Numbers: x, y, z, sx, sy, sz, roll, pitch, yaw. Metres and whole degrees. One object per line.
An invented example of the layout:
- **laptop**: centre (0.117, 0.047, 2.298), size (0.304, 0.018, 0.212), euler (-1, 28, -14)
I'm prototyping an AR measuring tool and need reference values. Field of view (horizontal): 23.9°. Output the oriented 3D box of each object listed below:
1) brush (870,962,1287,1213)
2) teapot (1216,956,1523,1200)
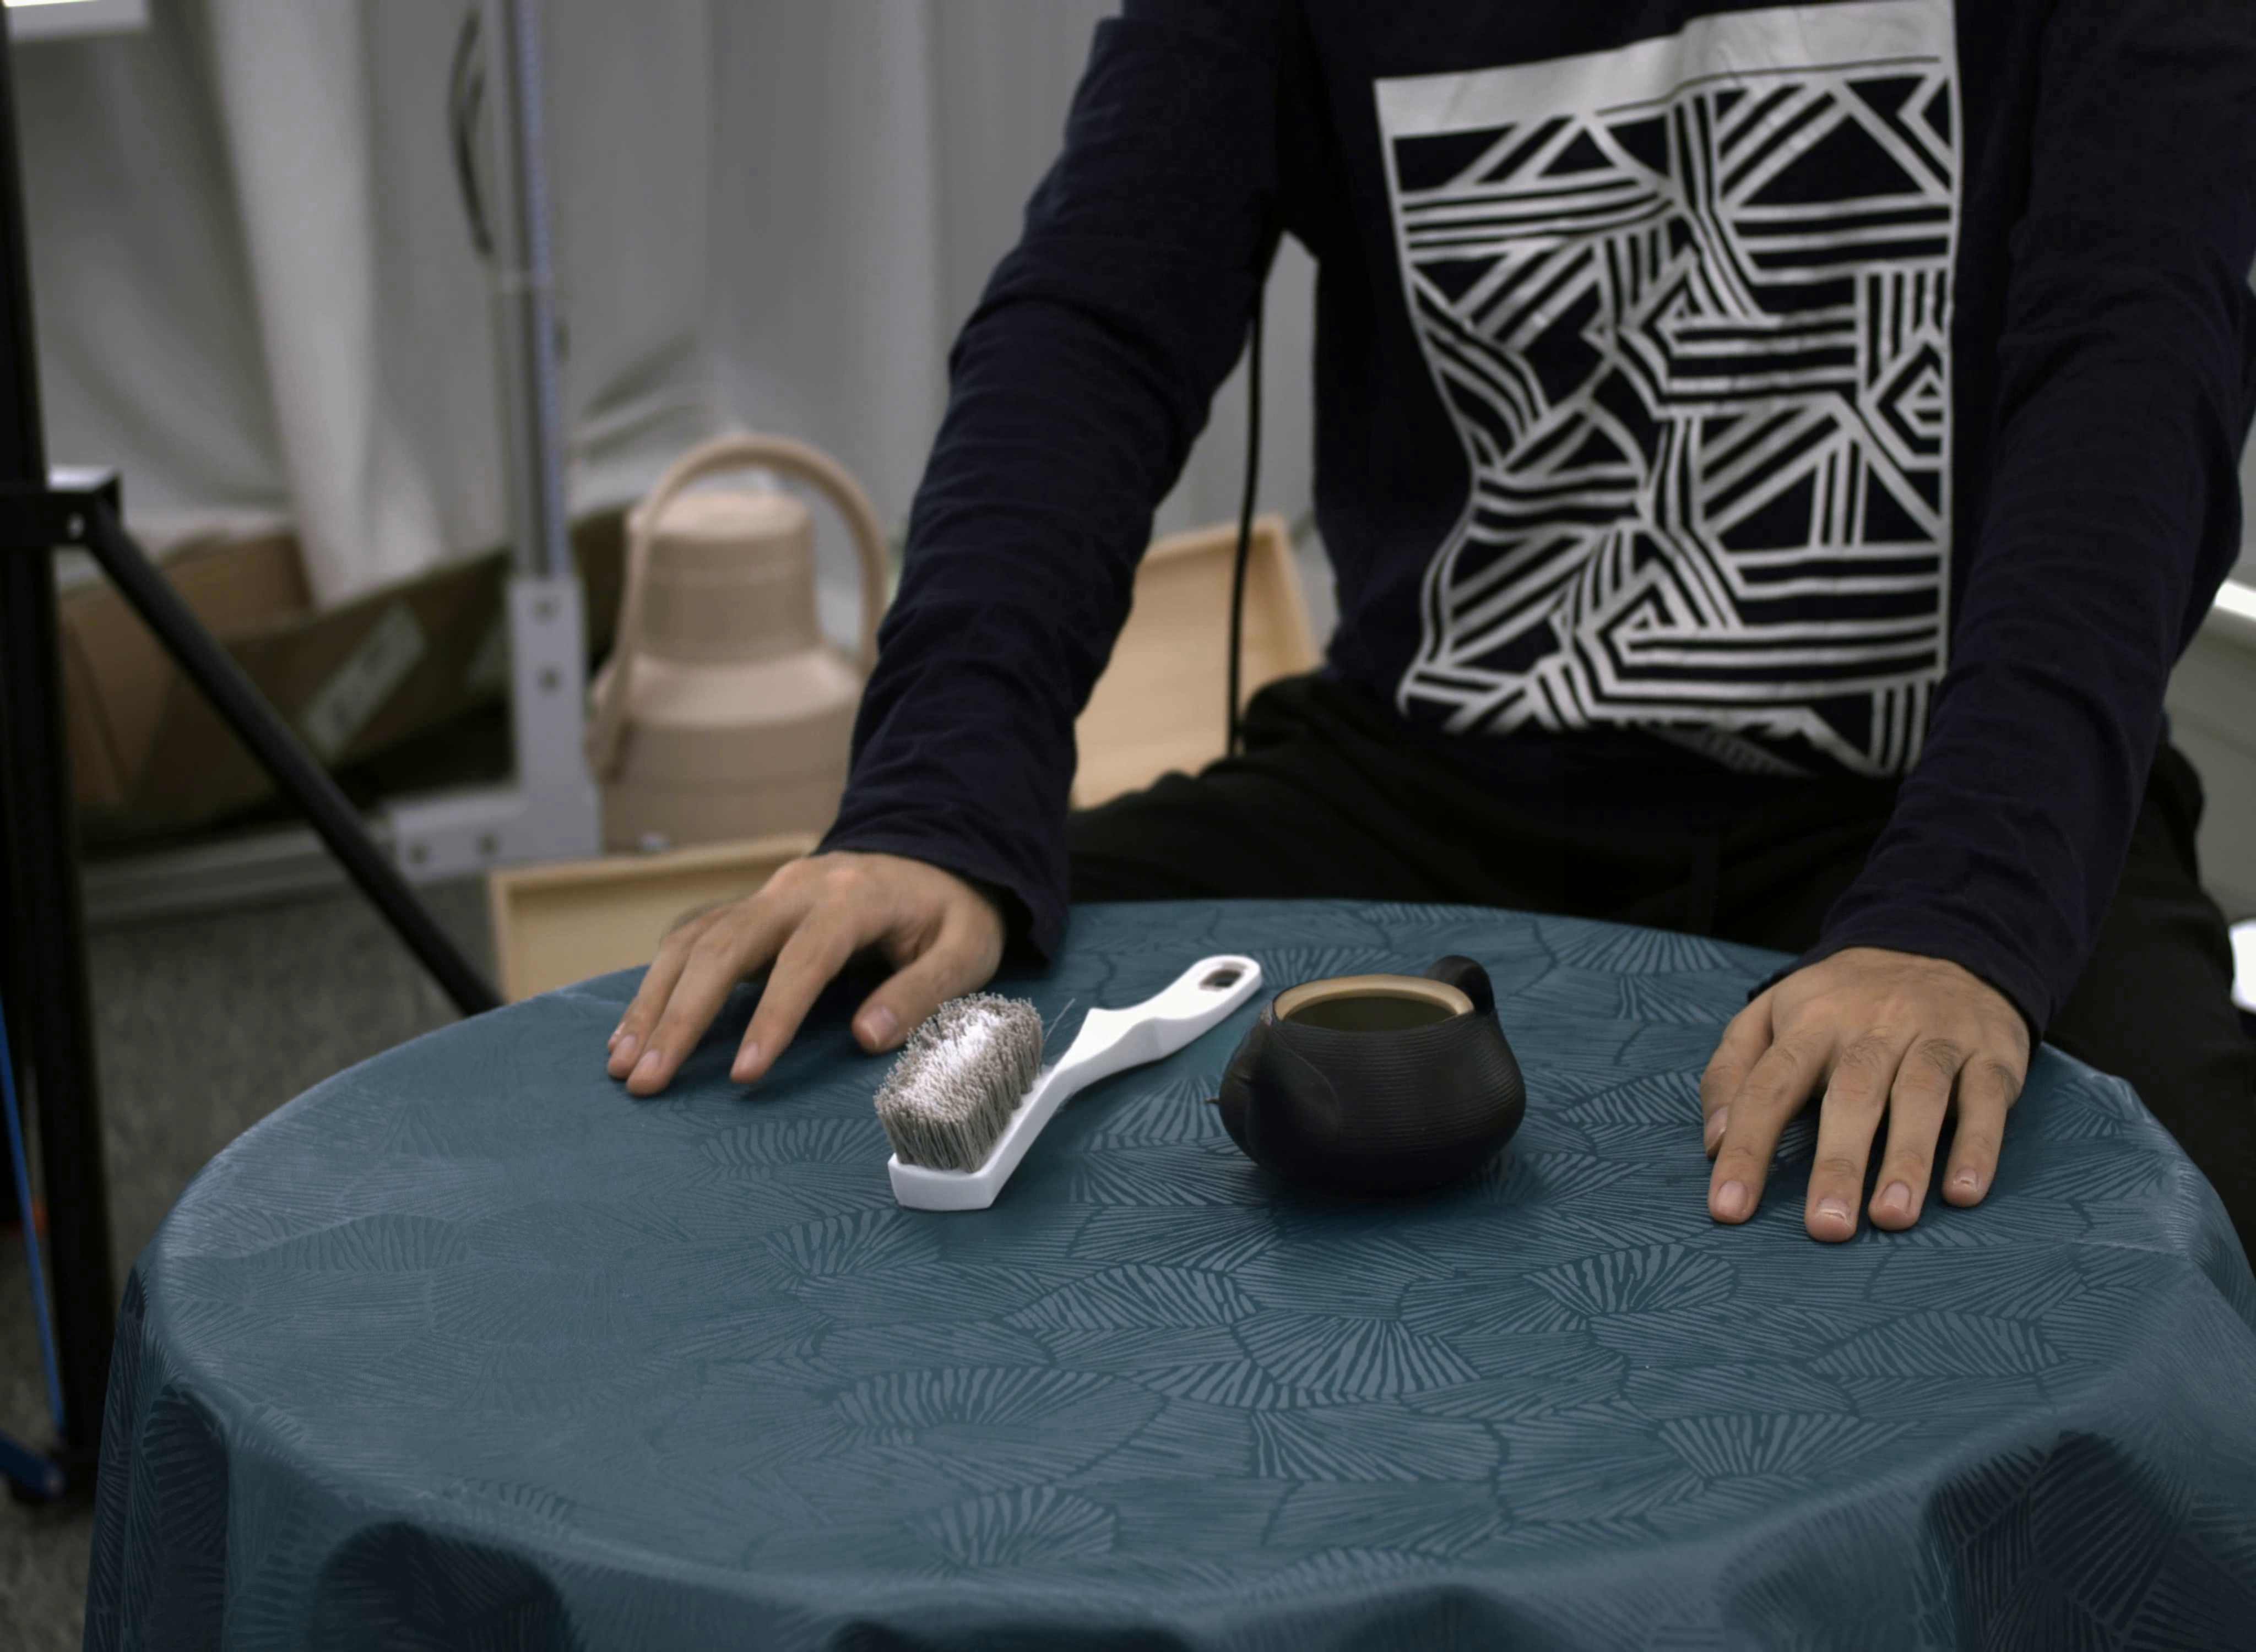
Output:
- **brush**: centre (-0.010, 0.061, 1.642), size (0.035, 0.050, 0.239), euler (3, 17, 27)
- **teapot**: centre (0.072, 0.077, 1.563), size (0.093, 0.053, 0.130), euler (11, 20, 32)
